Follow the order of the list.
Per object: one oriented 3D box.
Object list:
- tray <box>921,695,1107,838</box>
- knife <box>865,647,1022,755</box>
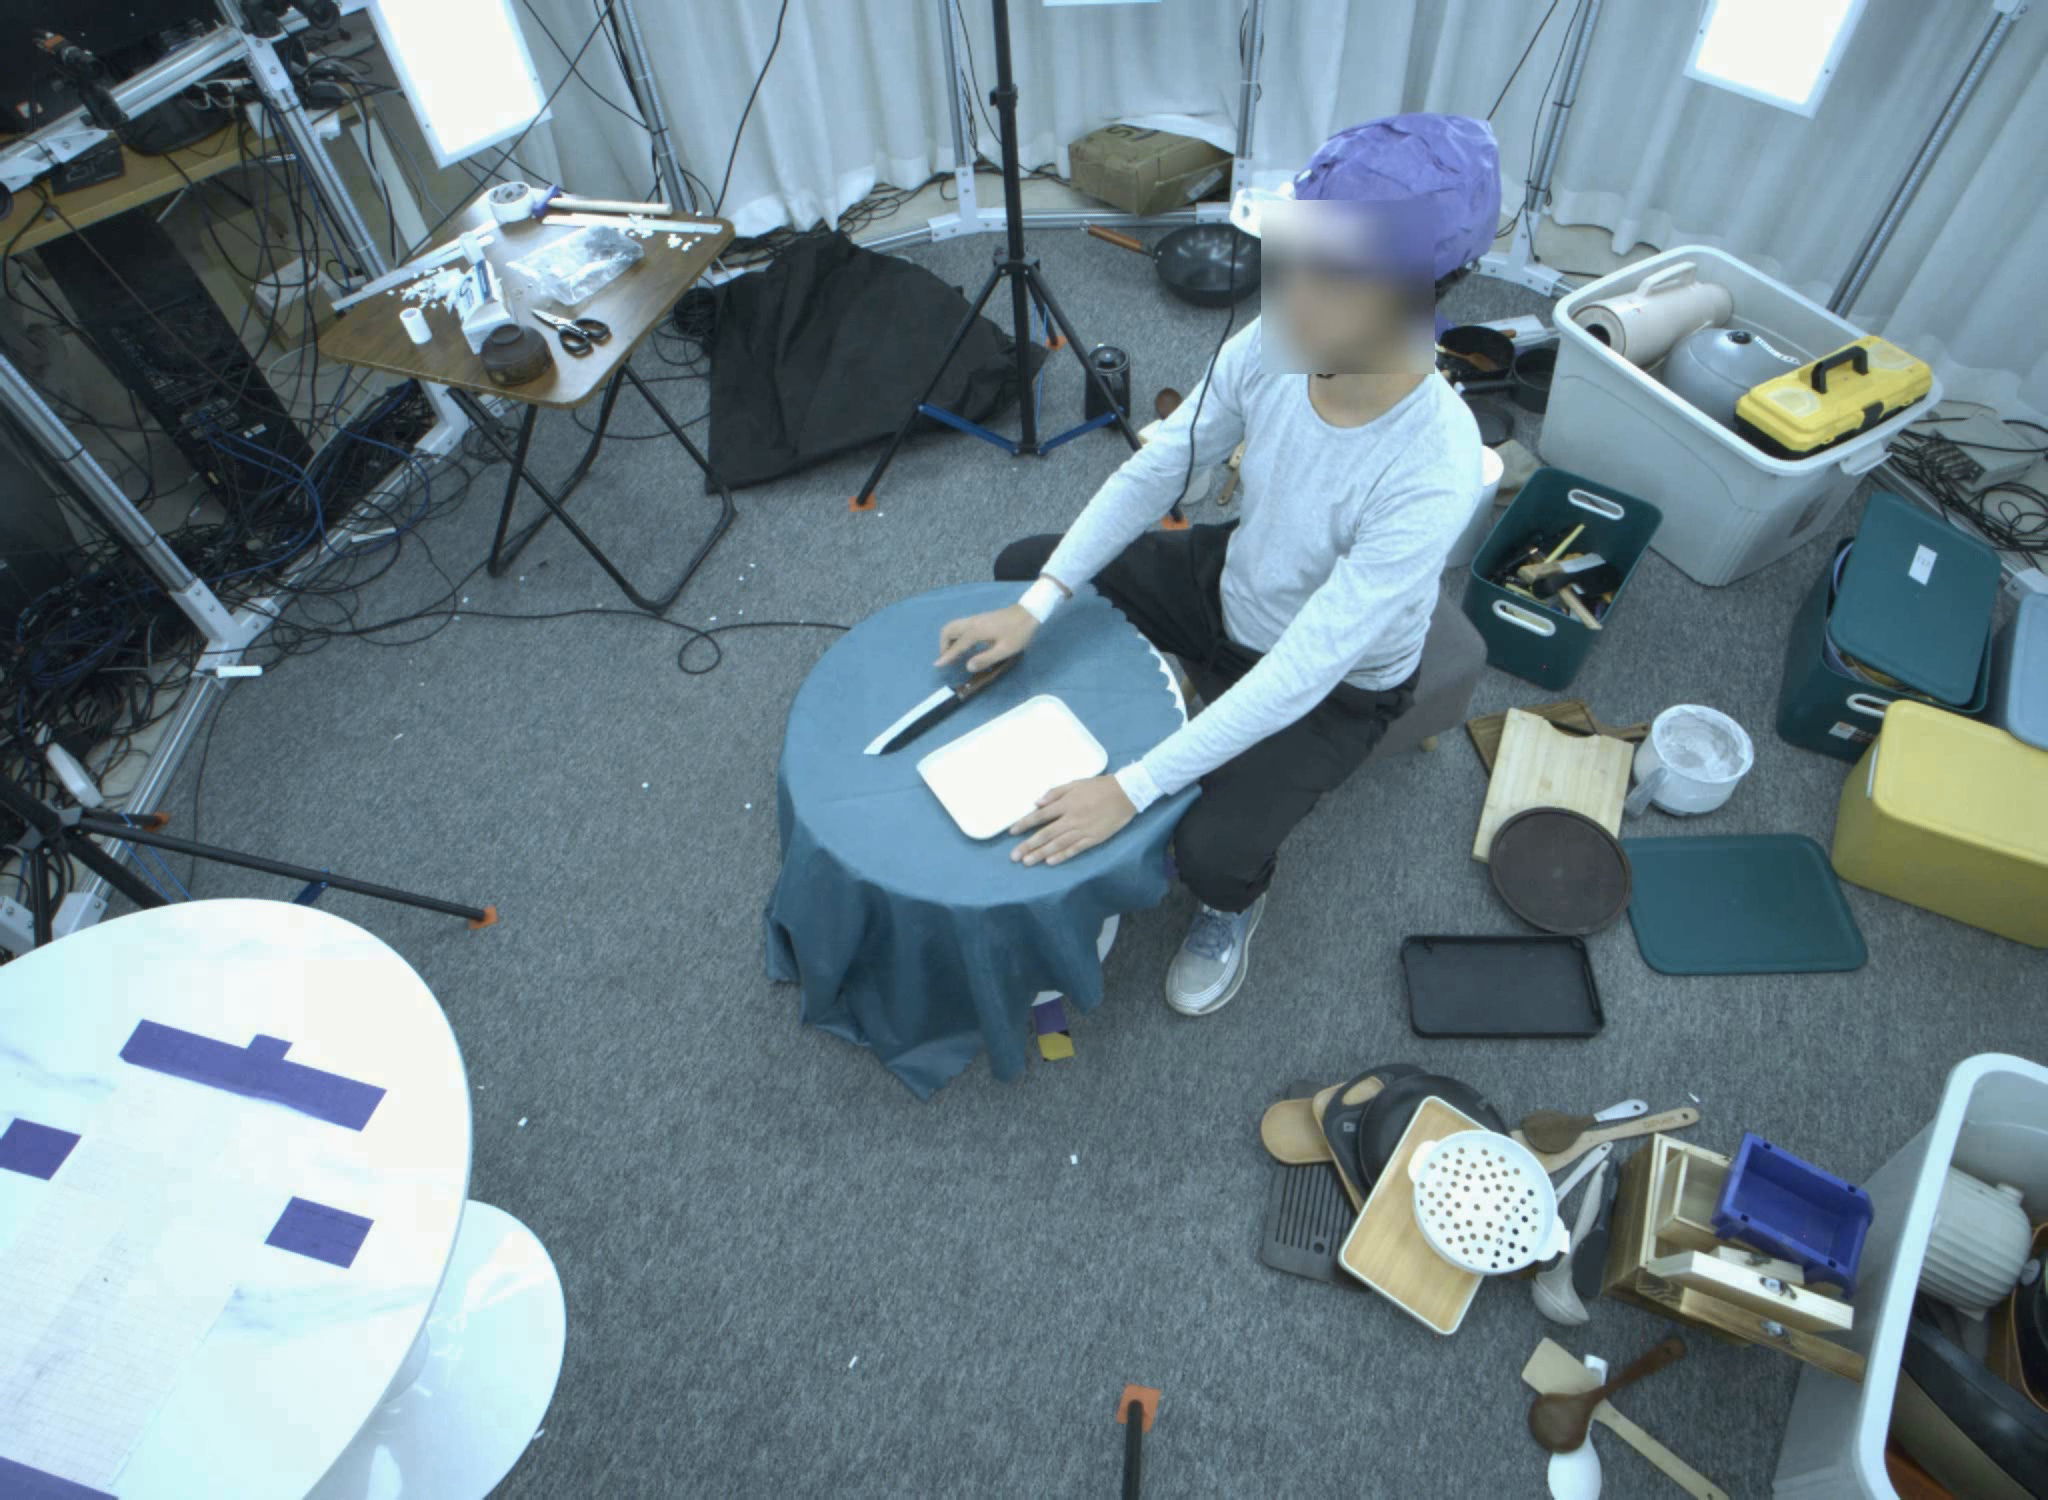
[{"bbox_3d":[-0.015,0.022,1.769,0.241,0.017,0.168,-28,59,-18],"label":"tray"},{"bbox_3d":[-0.120,-0.073,1.841,0.291,0.020,0.049,-35,54,-19],"label":"knife"}]
